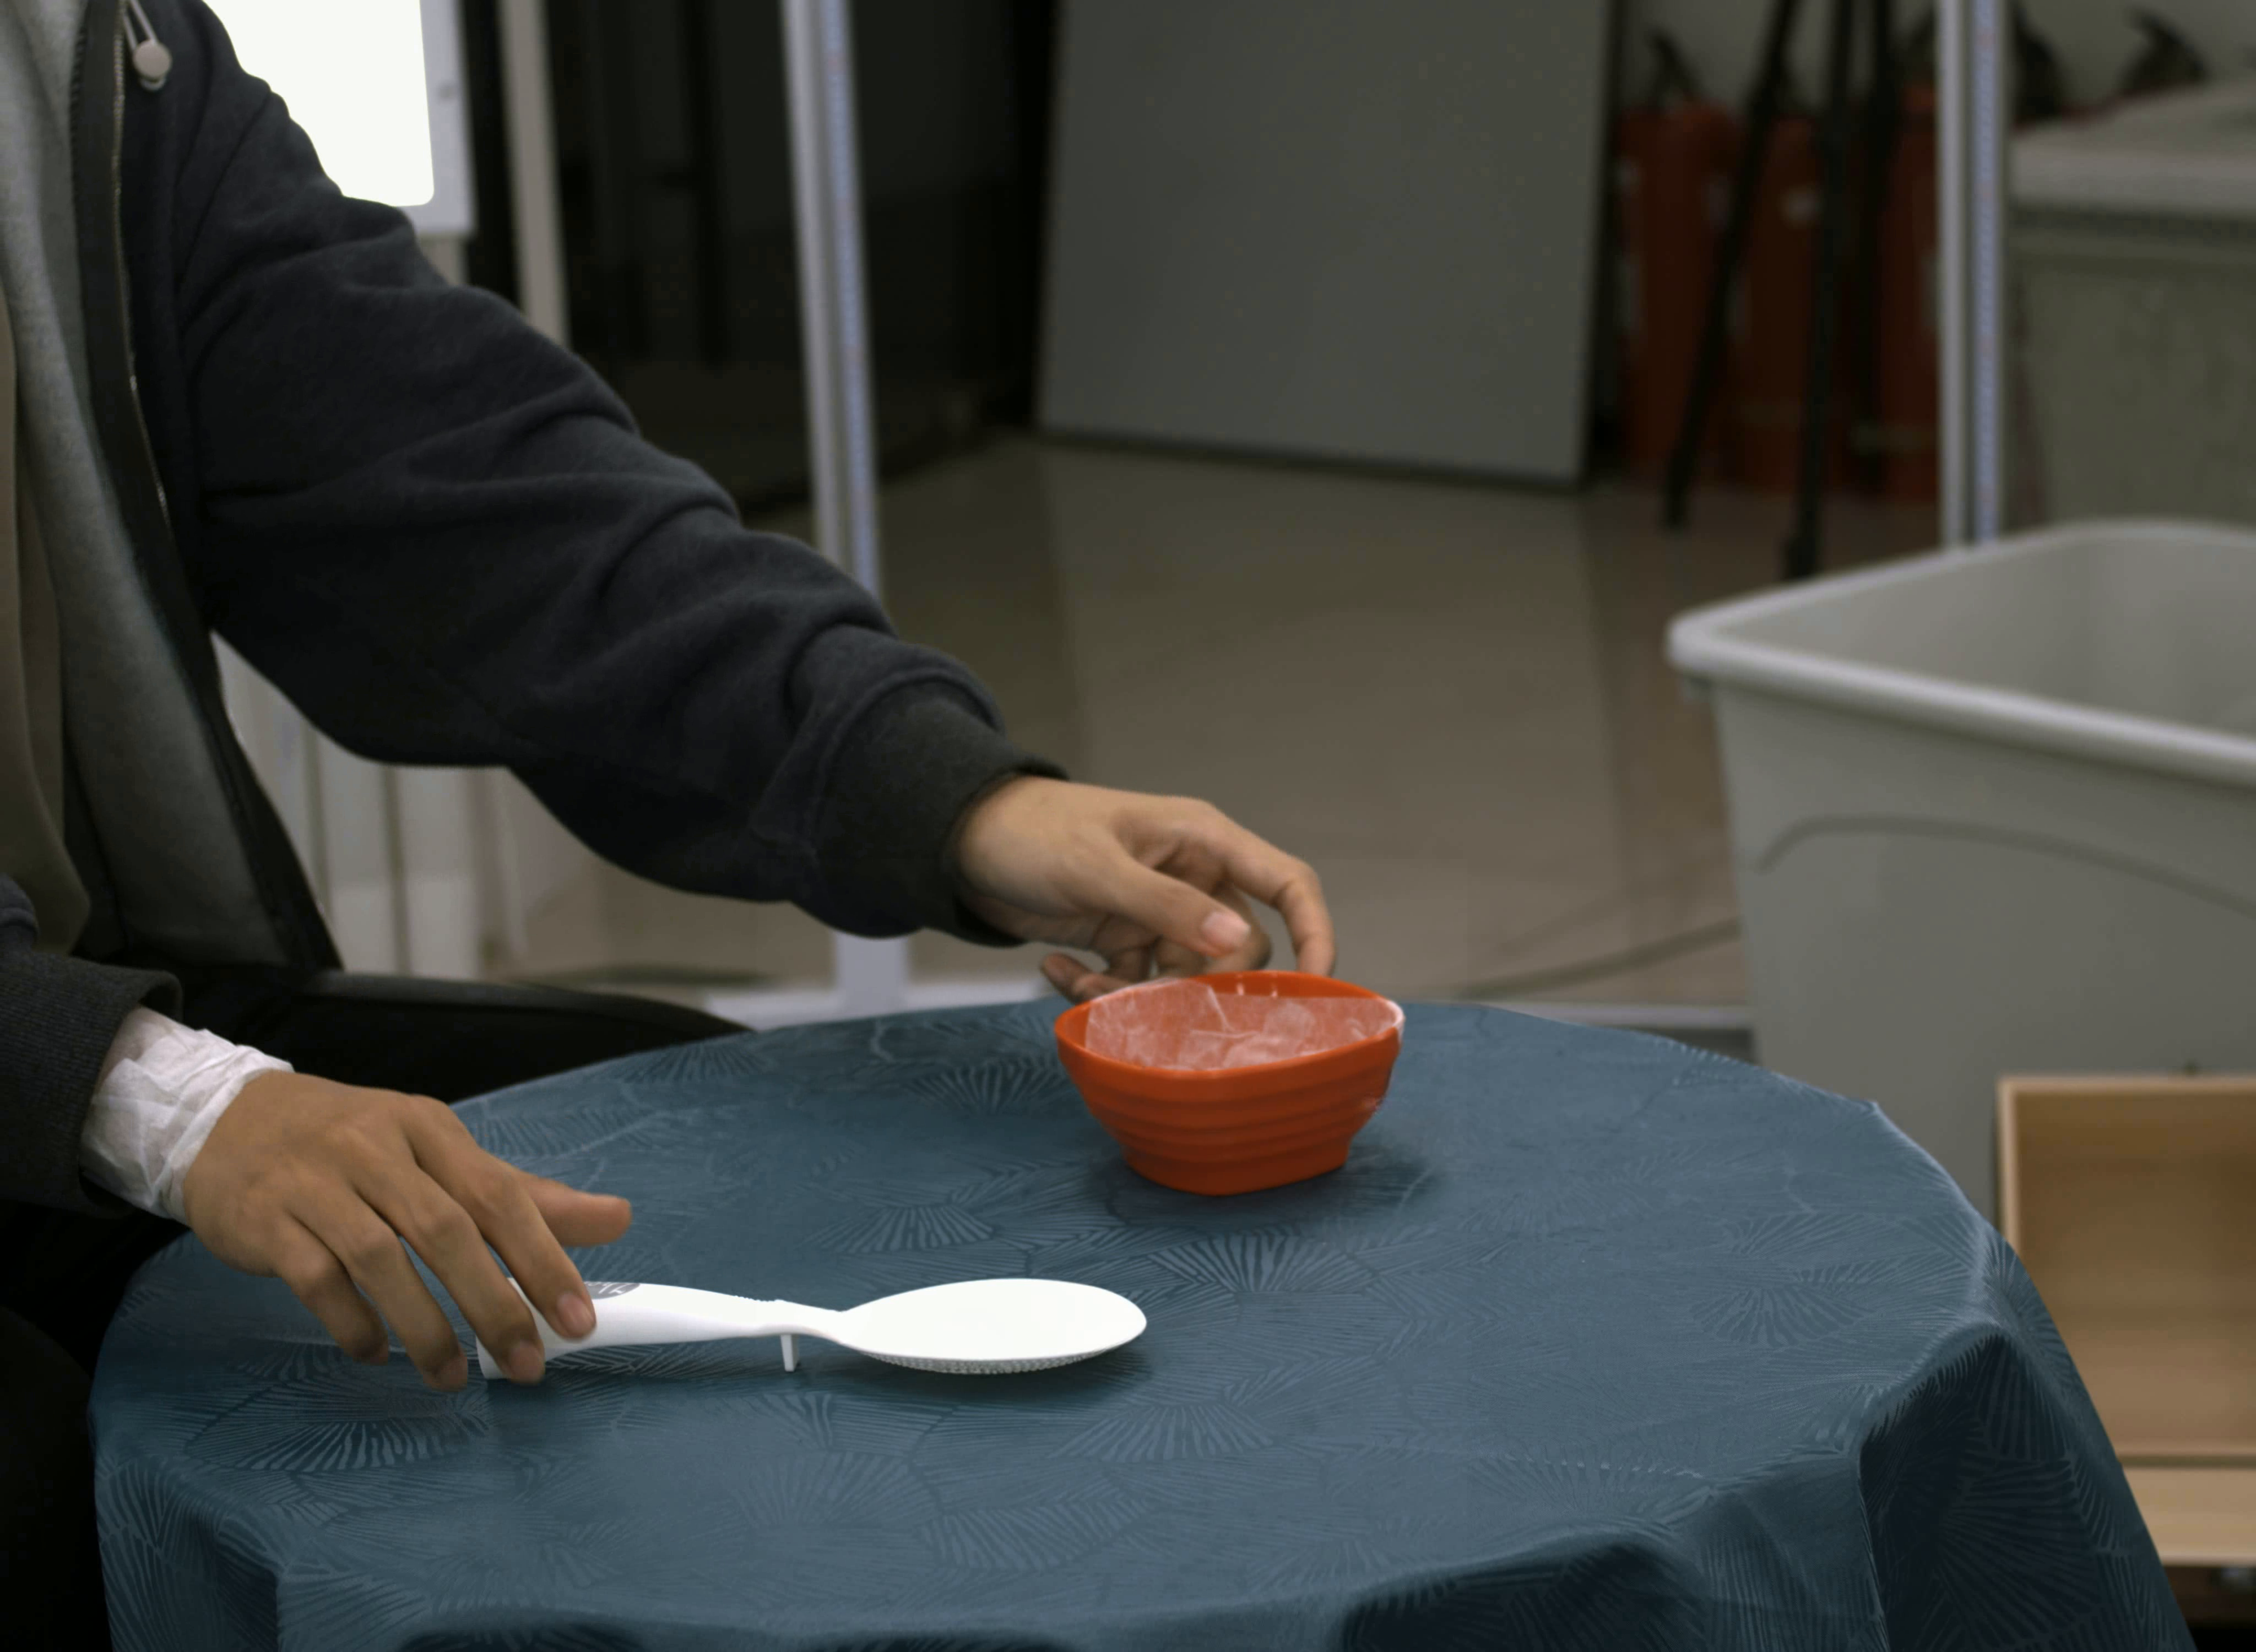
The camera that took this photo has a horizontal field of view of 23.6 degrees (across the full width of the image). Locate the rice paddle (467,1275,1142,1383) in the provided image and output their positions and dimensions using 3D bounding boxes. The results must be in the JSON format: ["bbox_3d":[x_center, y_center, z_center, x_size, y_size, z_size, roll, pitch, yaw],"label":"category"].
[{"bbox_3d":[-0.096,0.148,1.620,0.203,0.030,0.068,-2,15,8],"label":"rice paddle"}]

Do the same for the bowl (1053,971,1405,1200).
[{"bbox_3d":[0.034,0.087,1.786,0.117,0.052,0.119,-3,14,0],"label":"bowl"}]
